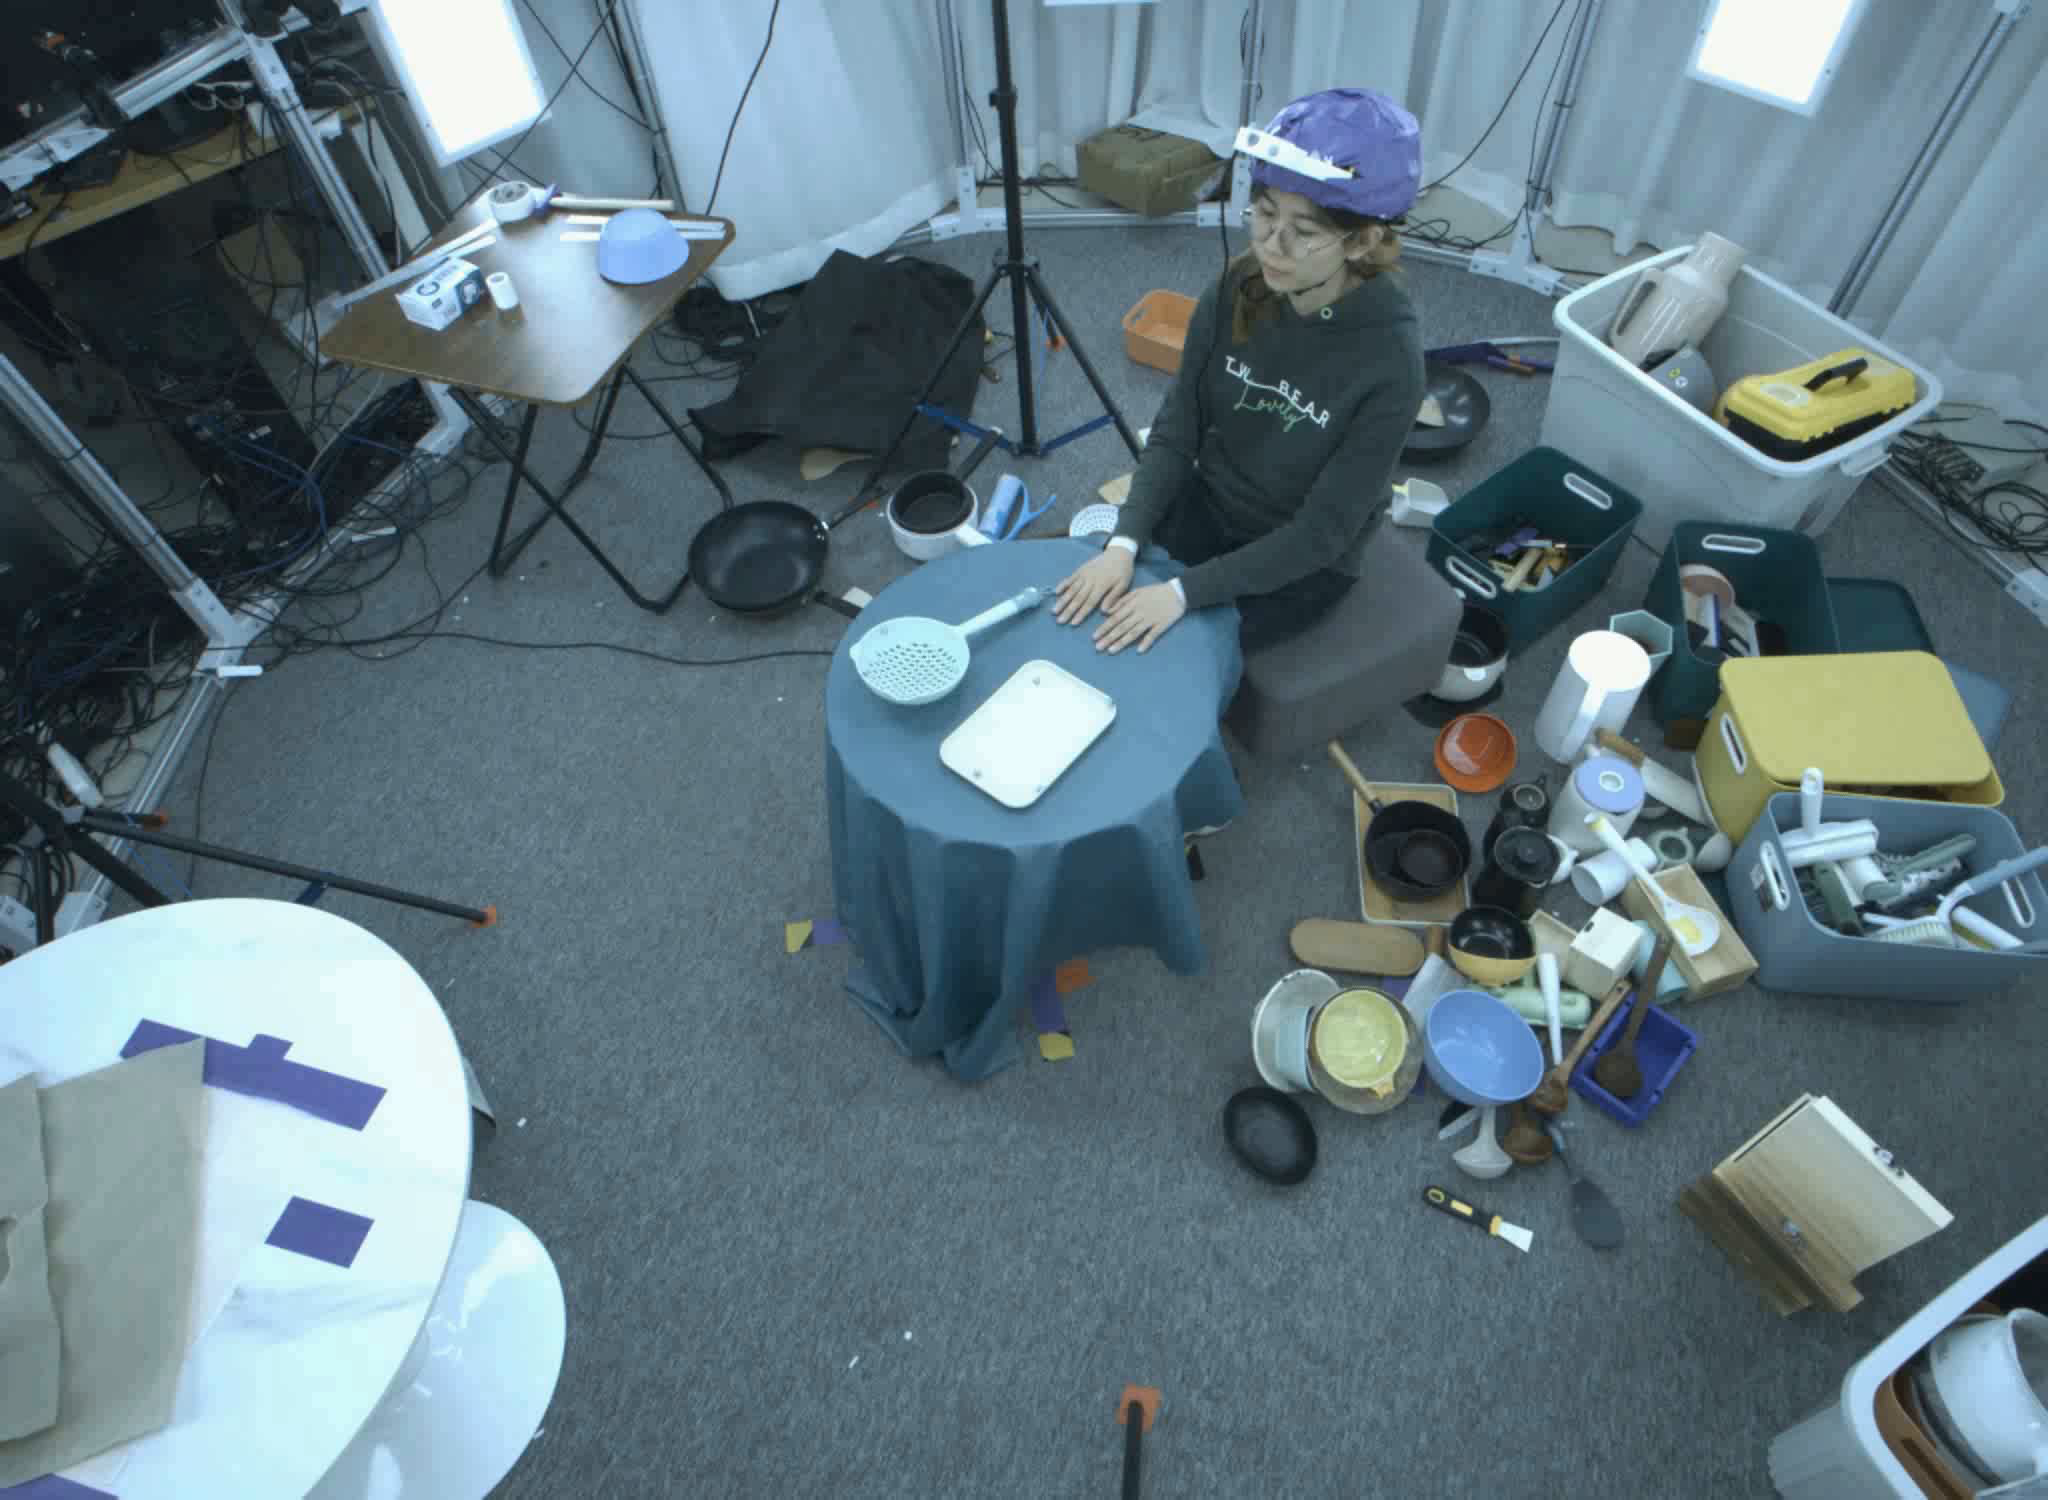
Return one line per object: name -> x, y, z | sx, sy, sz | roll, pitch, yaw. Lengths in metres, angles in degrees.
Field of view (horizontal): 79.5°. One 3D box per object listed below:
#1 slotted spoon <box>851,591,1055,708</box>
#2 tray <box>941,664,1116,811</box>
slotted spoon -> -0.091, -0.173, 1.883 | 0.361, 0.076, 0.166 | -36, 62, -22
tray -> 0.008, -0.019, 1.801 | 0.168, 0.017, 0.241 | 33, 61, 22
